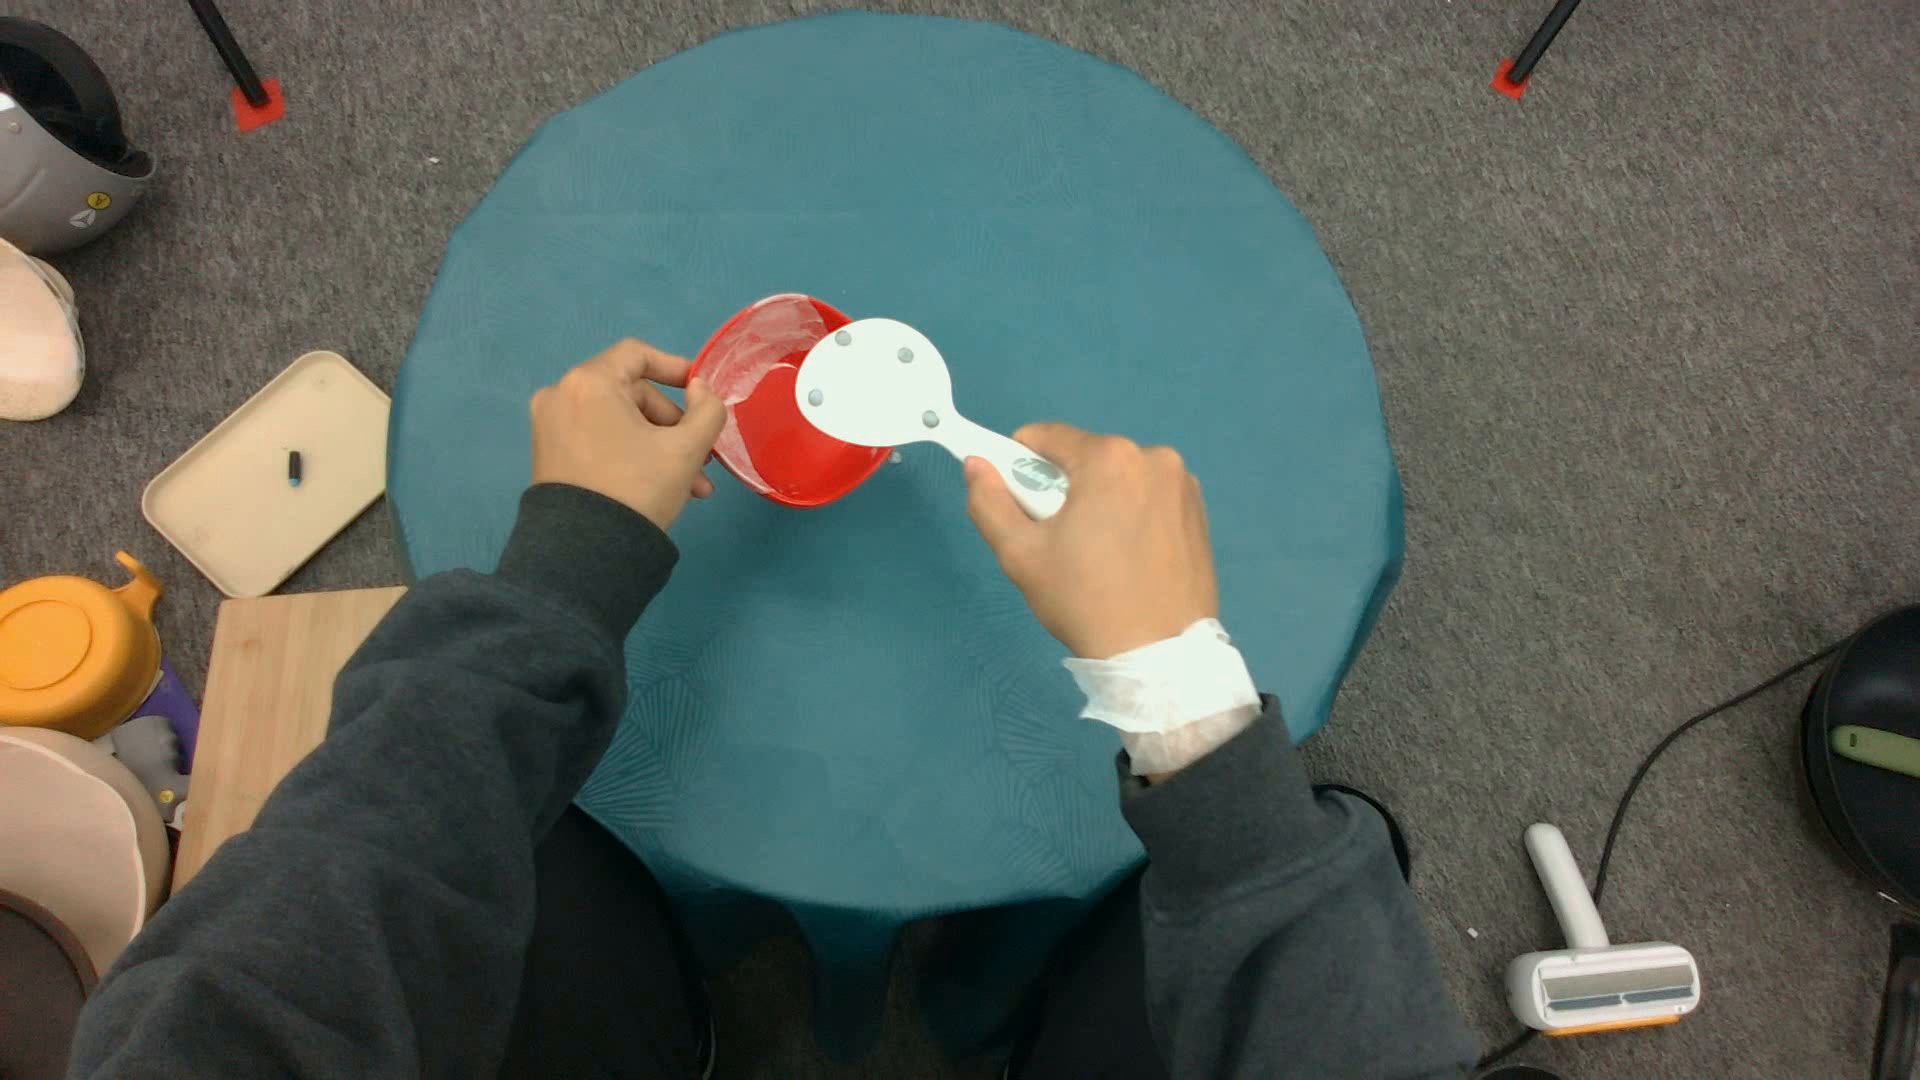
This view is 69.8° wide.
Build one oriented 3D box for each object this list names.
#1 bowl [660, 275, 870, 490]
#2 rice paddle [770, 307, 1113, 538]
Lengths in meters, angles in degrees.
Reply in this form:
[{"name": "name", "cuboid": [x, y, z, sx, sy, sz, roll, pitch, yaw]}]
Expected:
[{"name": "bowl", "cuboid": [-0.105, -0.078, 0.745, 0.119, 0.051, 0.119, 6, 73, -18]}, {"name": "rice paddle", "cuboid": [-0.017, -0.060, 0.642, 0.205, 0.029, 0.069, 32, 75, 33]}]
